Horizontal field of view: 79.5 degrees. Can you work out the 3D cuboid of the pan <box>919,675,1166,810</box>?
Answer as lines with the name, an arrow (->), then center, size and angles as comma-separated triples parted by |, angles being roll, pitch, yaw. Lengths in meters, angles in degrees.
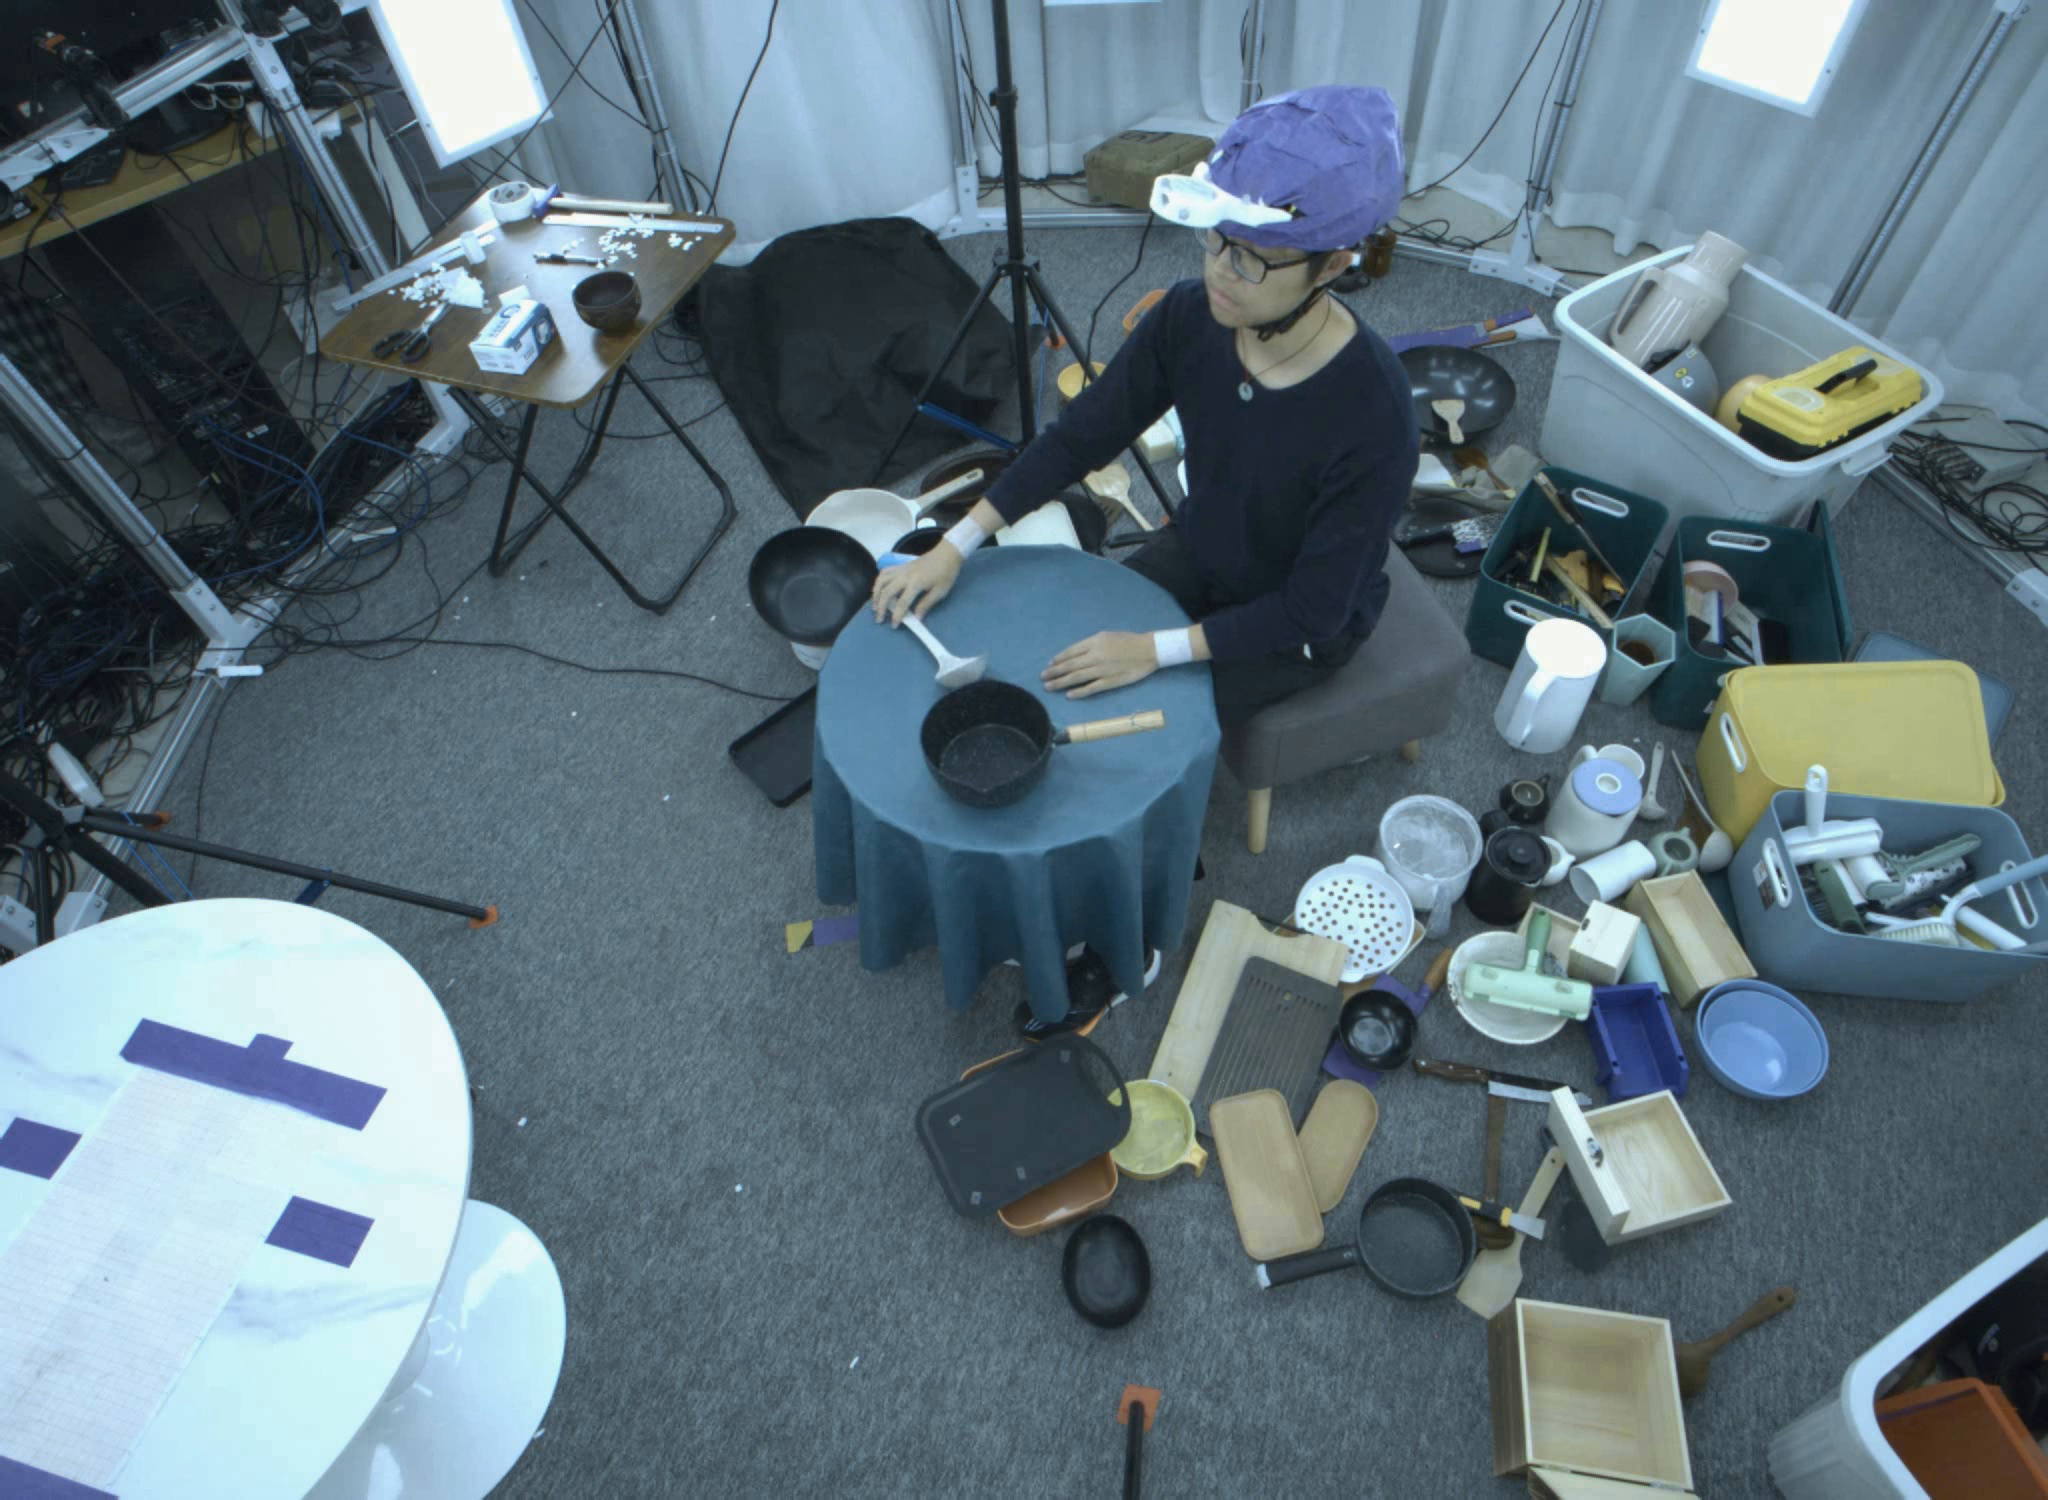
pan -> 0.028, -0.012, 1.728 | 0.342, 0.109, 0.205 | -4, 54, 1

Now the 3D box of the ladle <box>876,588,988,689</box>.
ladle -> -0.156, -0.192, 1.886 | 0.090, 0.070, 0.270 | -31, 60, -20
